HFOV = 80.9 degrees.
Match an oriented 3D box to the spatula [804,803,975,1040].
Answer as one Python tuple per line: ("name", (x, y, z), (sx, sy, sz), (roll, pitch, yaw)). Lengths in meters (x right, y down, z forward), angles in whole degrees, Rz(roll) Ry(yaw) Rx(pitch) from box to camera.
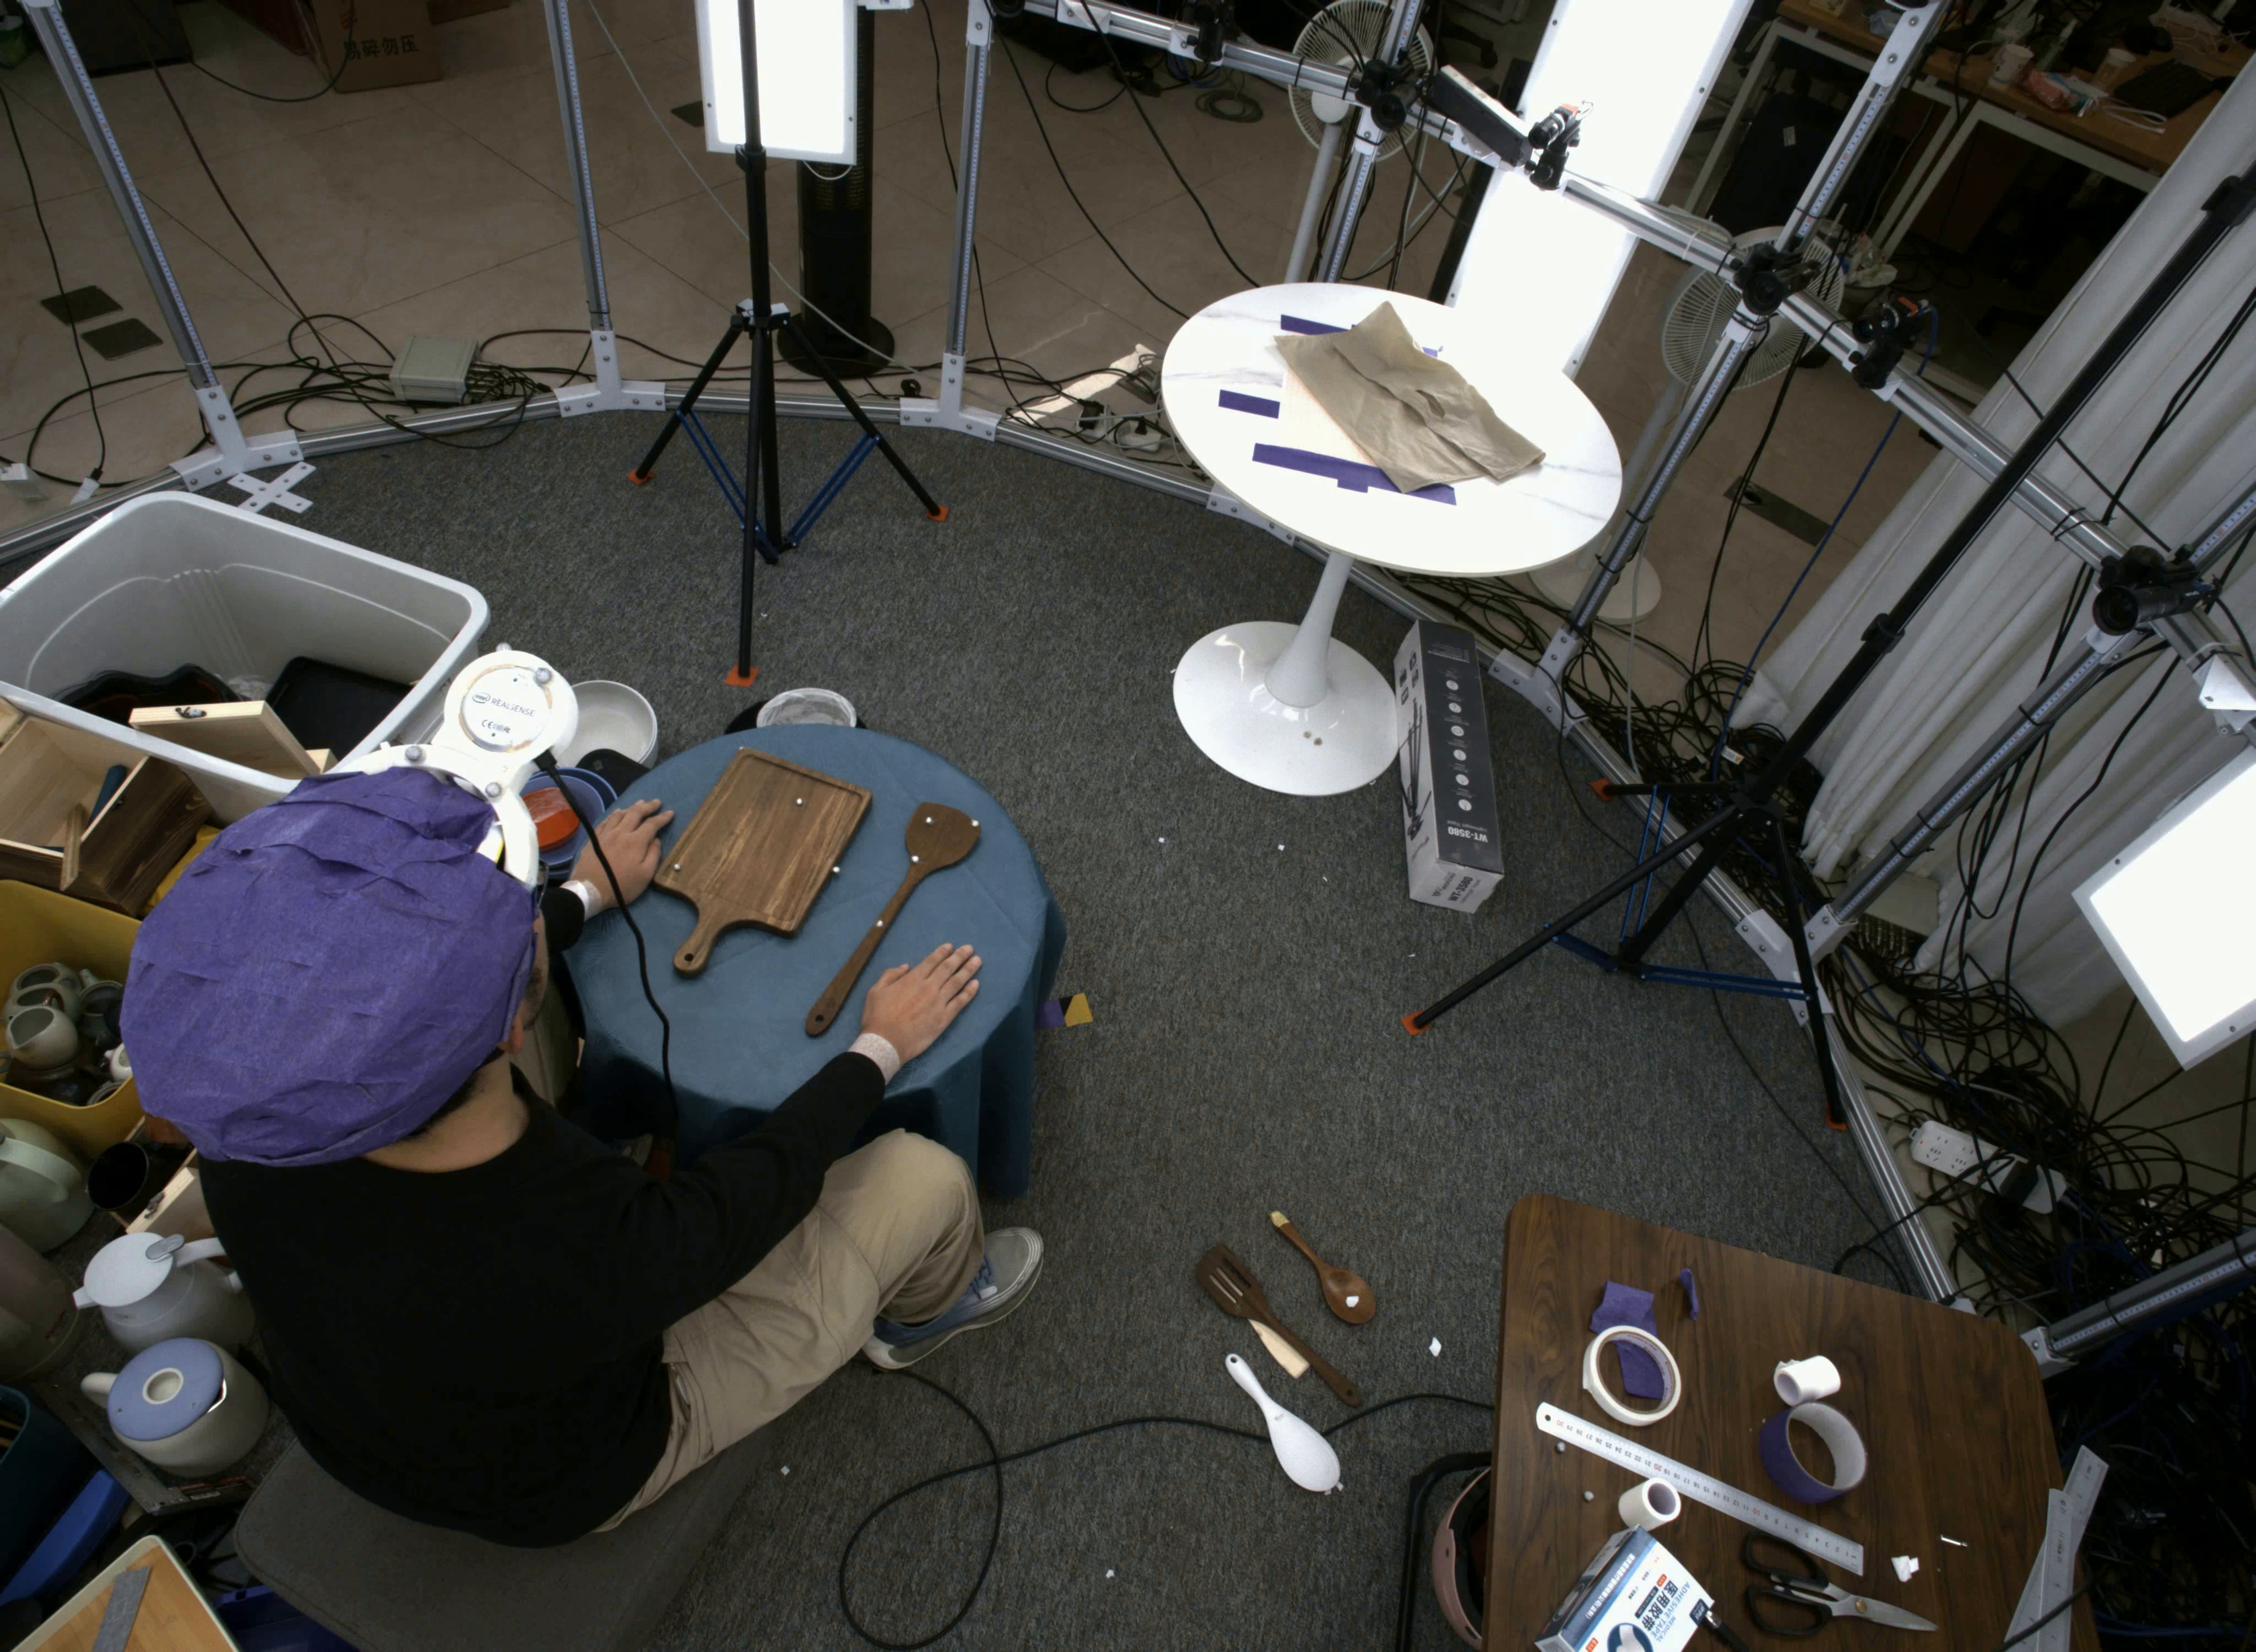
("spatula", (-0.310, 0.113, 1.655), (0.095, 0.016, 0.383), (24, 52, 4))

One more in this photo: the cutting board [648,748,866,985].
("cutting board", (-0.491, 0.052, 1.649), (0.199, 0.023, 0.348), (19, 52, 1))
